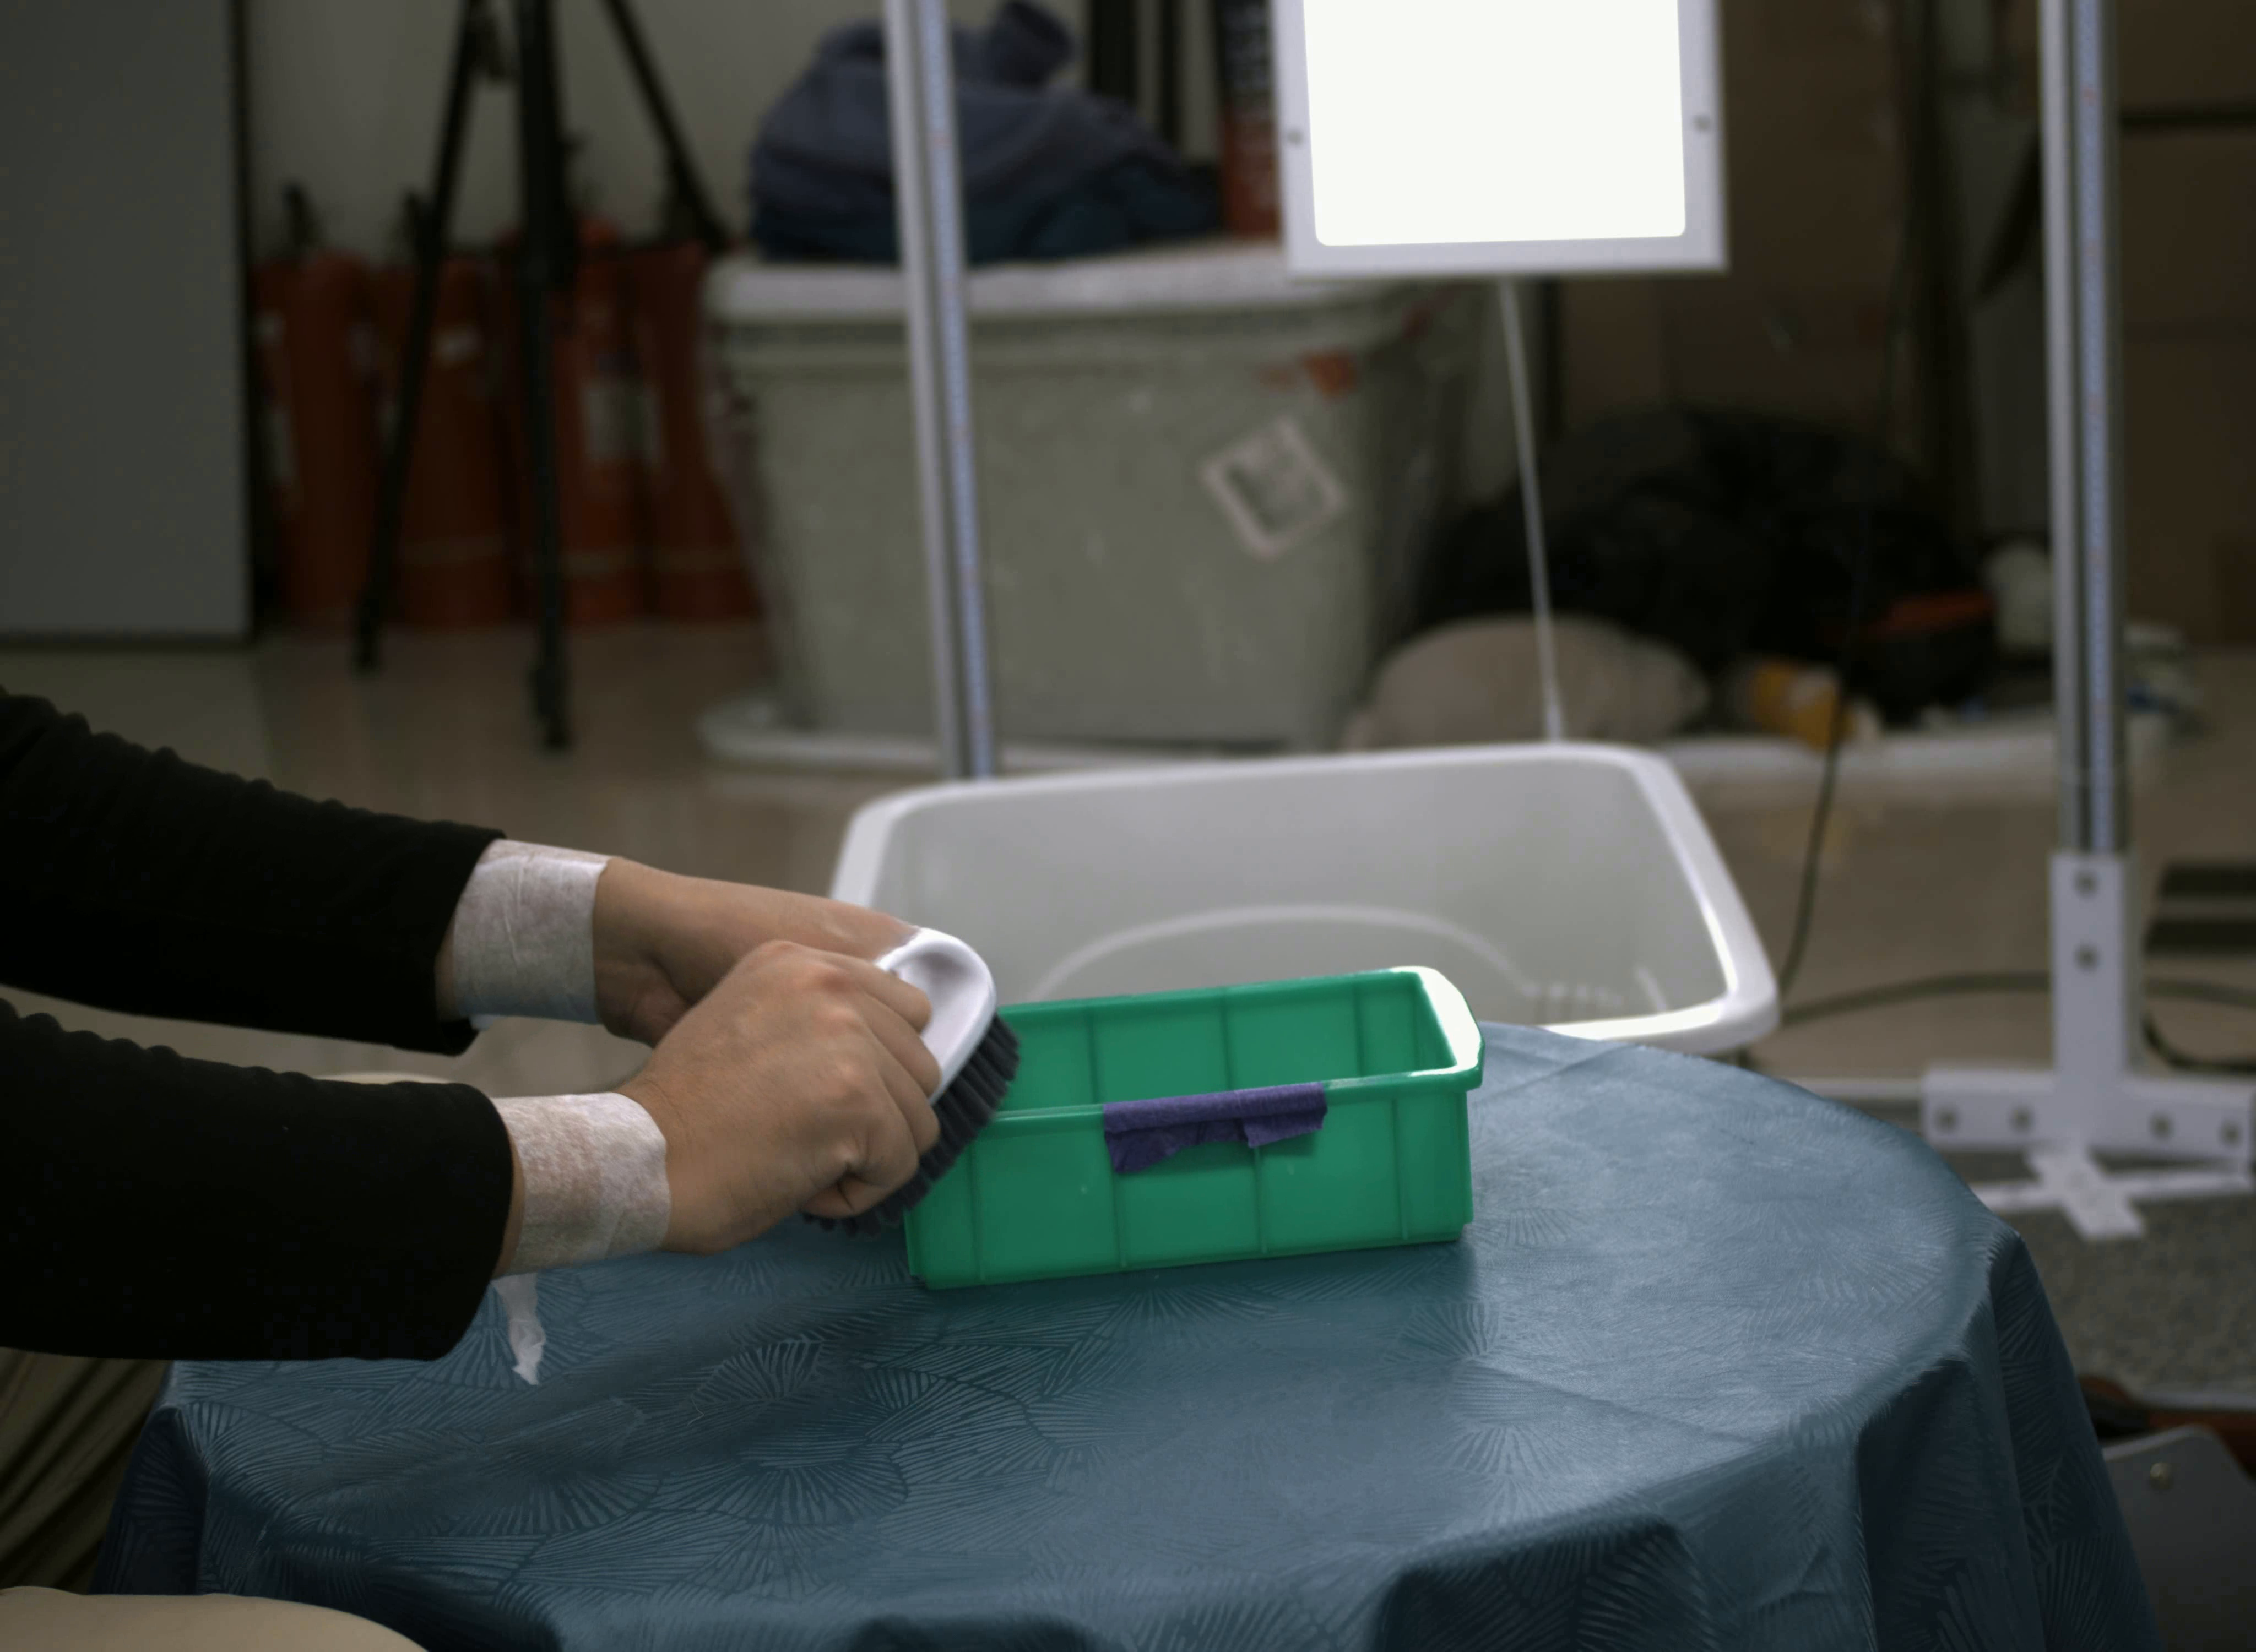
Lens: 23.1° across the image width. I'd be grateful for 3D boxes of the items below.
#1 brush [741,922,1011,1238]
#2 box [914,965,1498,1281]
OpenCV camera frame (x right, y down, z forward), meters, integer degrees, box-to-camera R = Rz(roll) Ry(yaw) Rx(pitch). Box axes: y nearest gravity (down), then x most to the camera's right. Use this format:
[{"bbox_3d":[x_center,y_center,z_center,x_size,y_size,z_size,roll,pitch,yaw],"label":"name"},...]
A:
[{"bbox_3d":[-0.086,0.075,1.775,0.051,0.072,0.098,23,60,38],"label":"brush"},{"bbox_3d":[0.019,0.101,1.864,0.209,0.065,0.138,-4,15,-2],"label":"box"}]
